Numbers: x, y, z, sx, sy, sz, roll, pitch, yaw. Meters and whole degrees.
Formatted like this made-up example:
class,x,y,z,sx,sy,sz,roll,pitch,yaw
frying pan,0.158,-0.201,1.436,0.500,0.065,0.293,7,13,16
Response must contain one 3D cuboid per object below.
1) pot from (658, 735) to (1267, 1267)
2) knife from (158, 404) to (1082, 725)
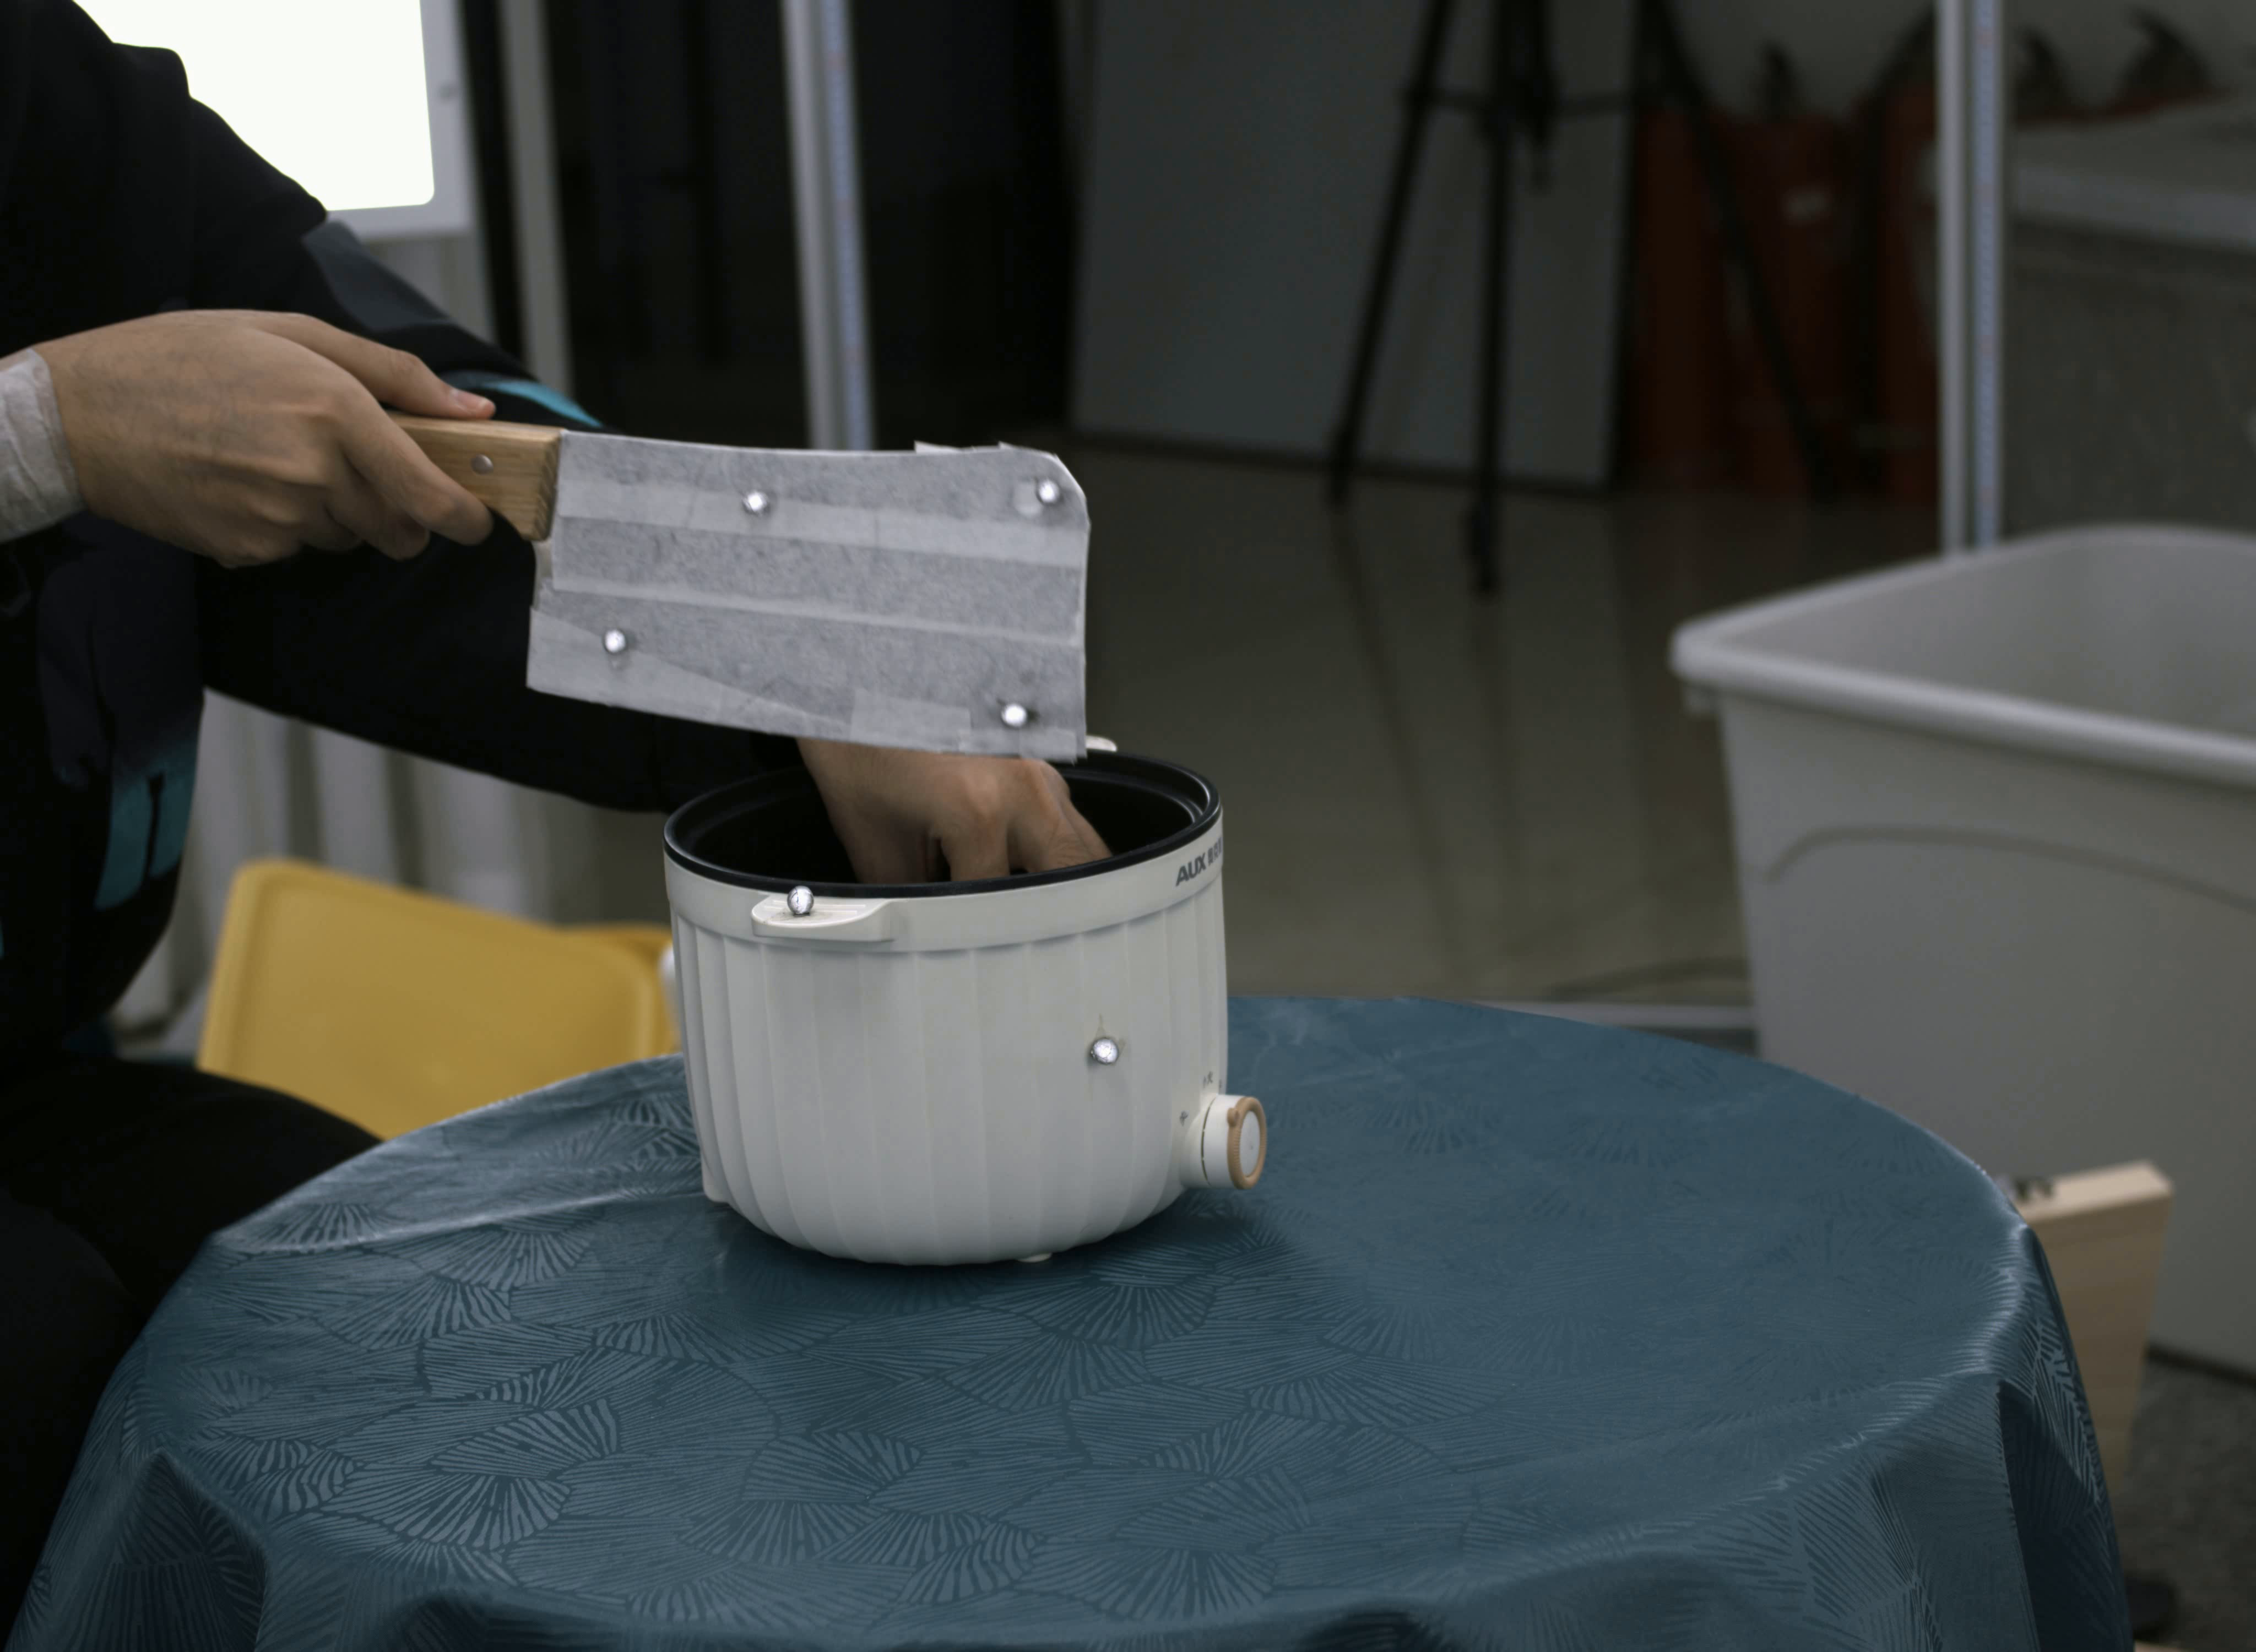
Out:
class,x,y,z,sx,sy,sz,roll,pitch,yaw
pot,-0.051,0.059,1.746,0.190,0.144,0.238,-2,14,23
knife,-0.161,-0.095,1.724,0.313,0.115,0.021,10,11,12
